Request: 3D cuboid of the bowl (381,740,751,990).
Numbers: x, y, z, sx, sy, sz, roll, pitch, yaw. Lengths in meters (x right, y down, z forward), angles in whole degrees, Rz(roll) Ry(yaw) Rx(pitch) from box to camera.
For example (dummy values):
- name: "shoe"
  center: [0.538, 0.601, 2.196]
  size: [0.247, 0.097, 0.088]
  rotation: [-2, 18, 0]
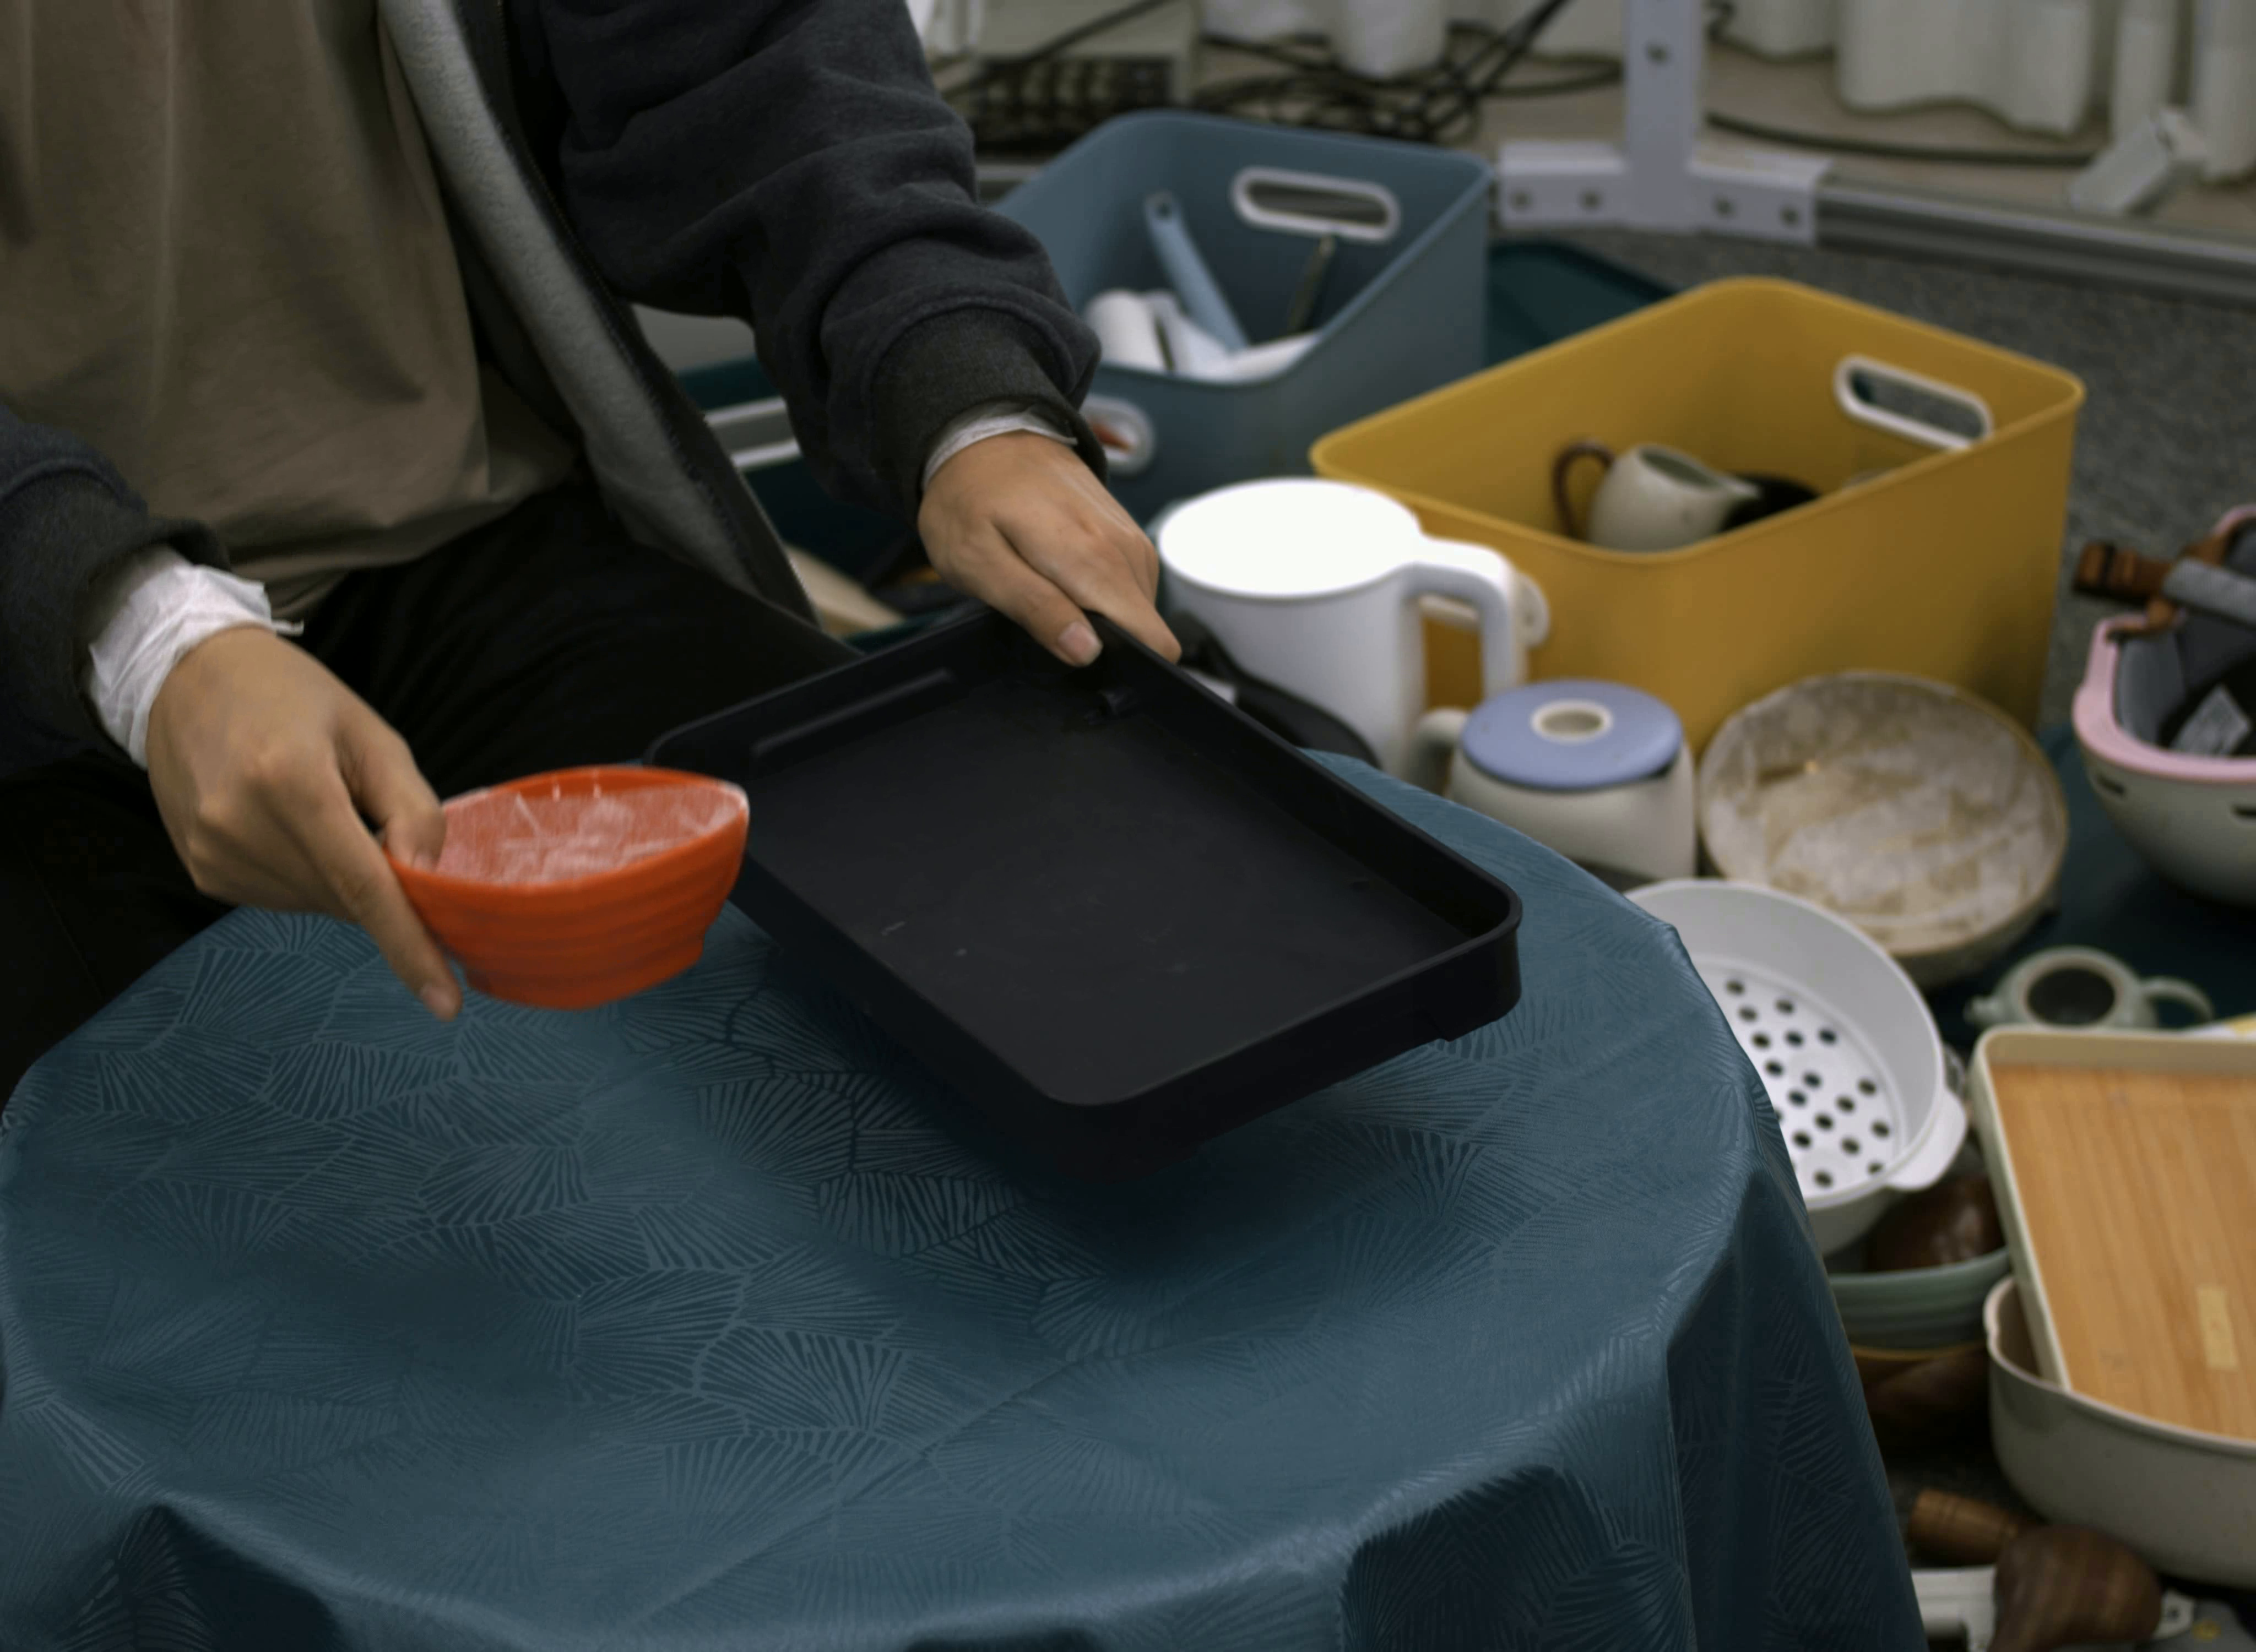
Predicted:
- name: "bowl"
  center: [-0.177, 0.015, 1.797]
  size: [0.118, 0.051, 0.120]
  rotation: [-5, 20, 2]

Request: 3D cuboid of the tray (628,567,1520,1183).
- name: "tray"
  center: [-0.023, 0.010, 1.922]
  size: [0.185, 0.036, 0.319]
  rotation: [-21, 35, -26]
